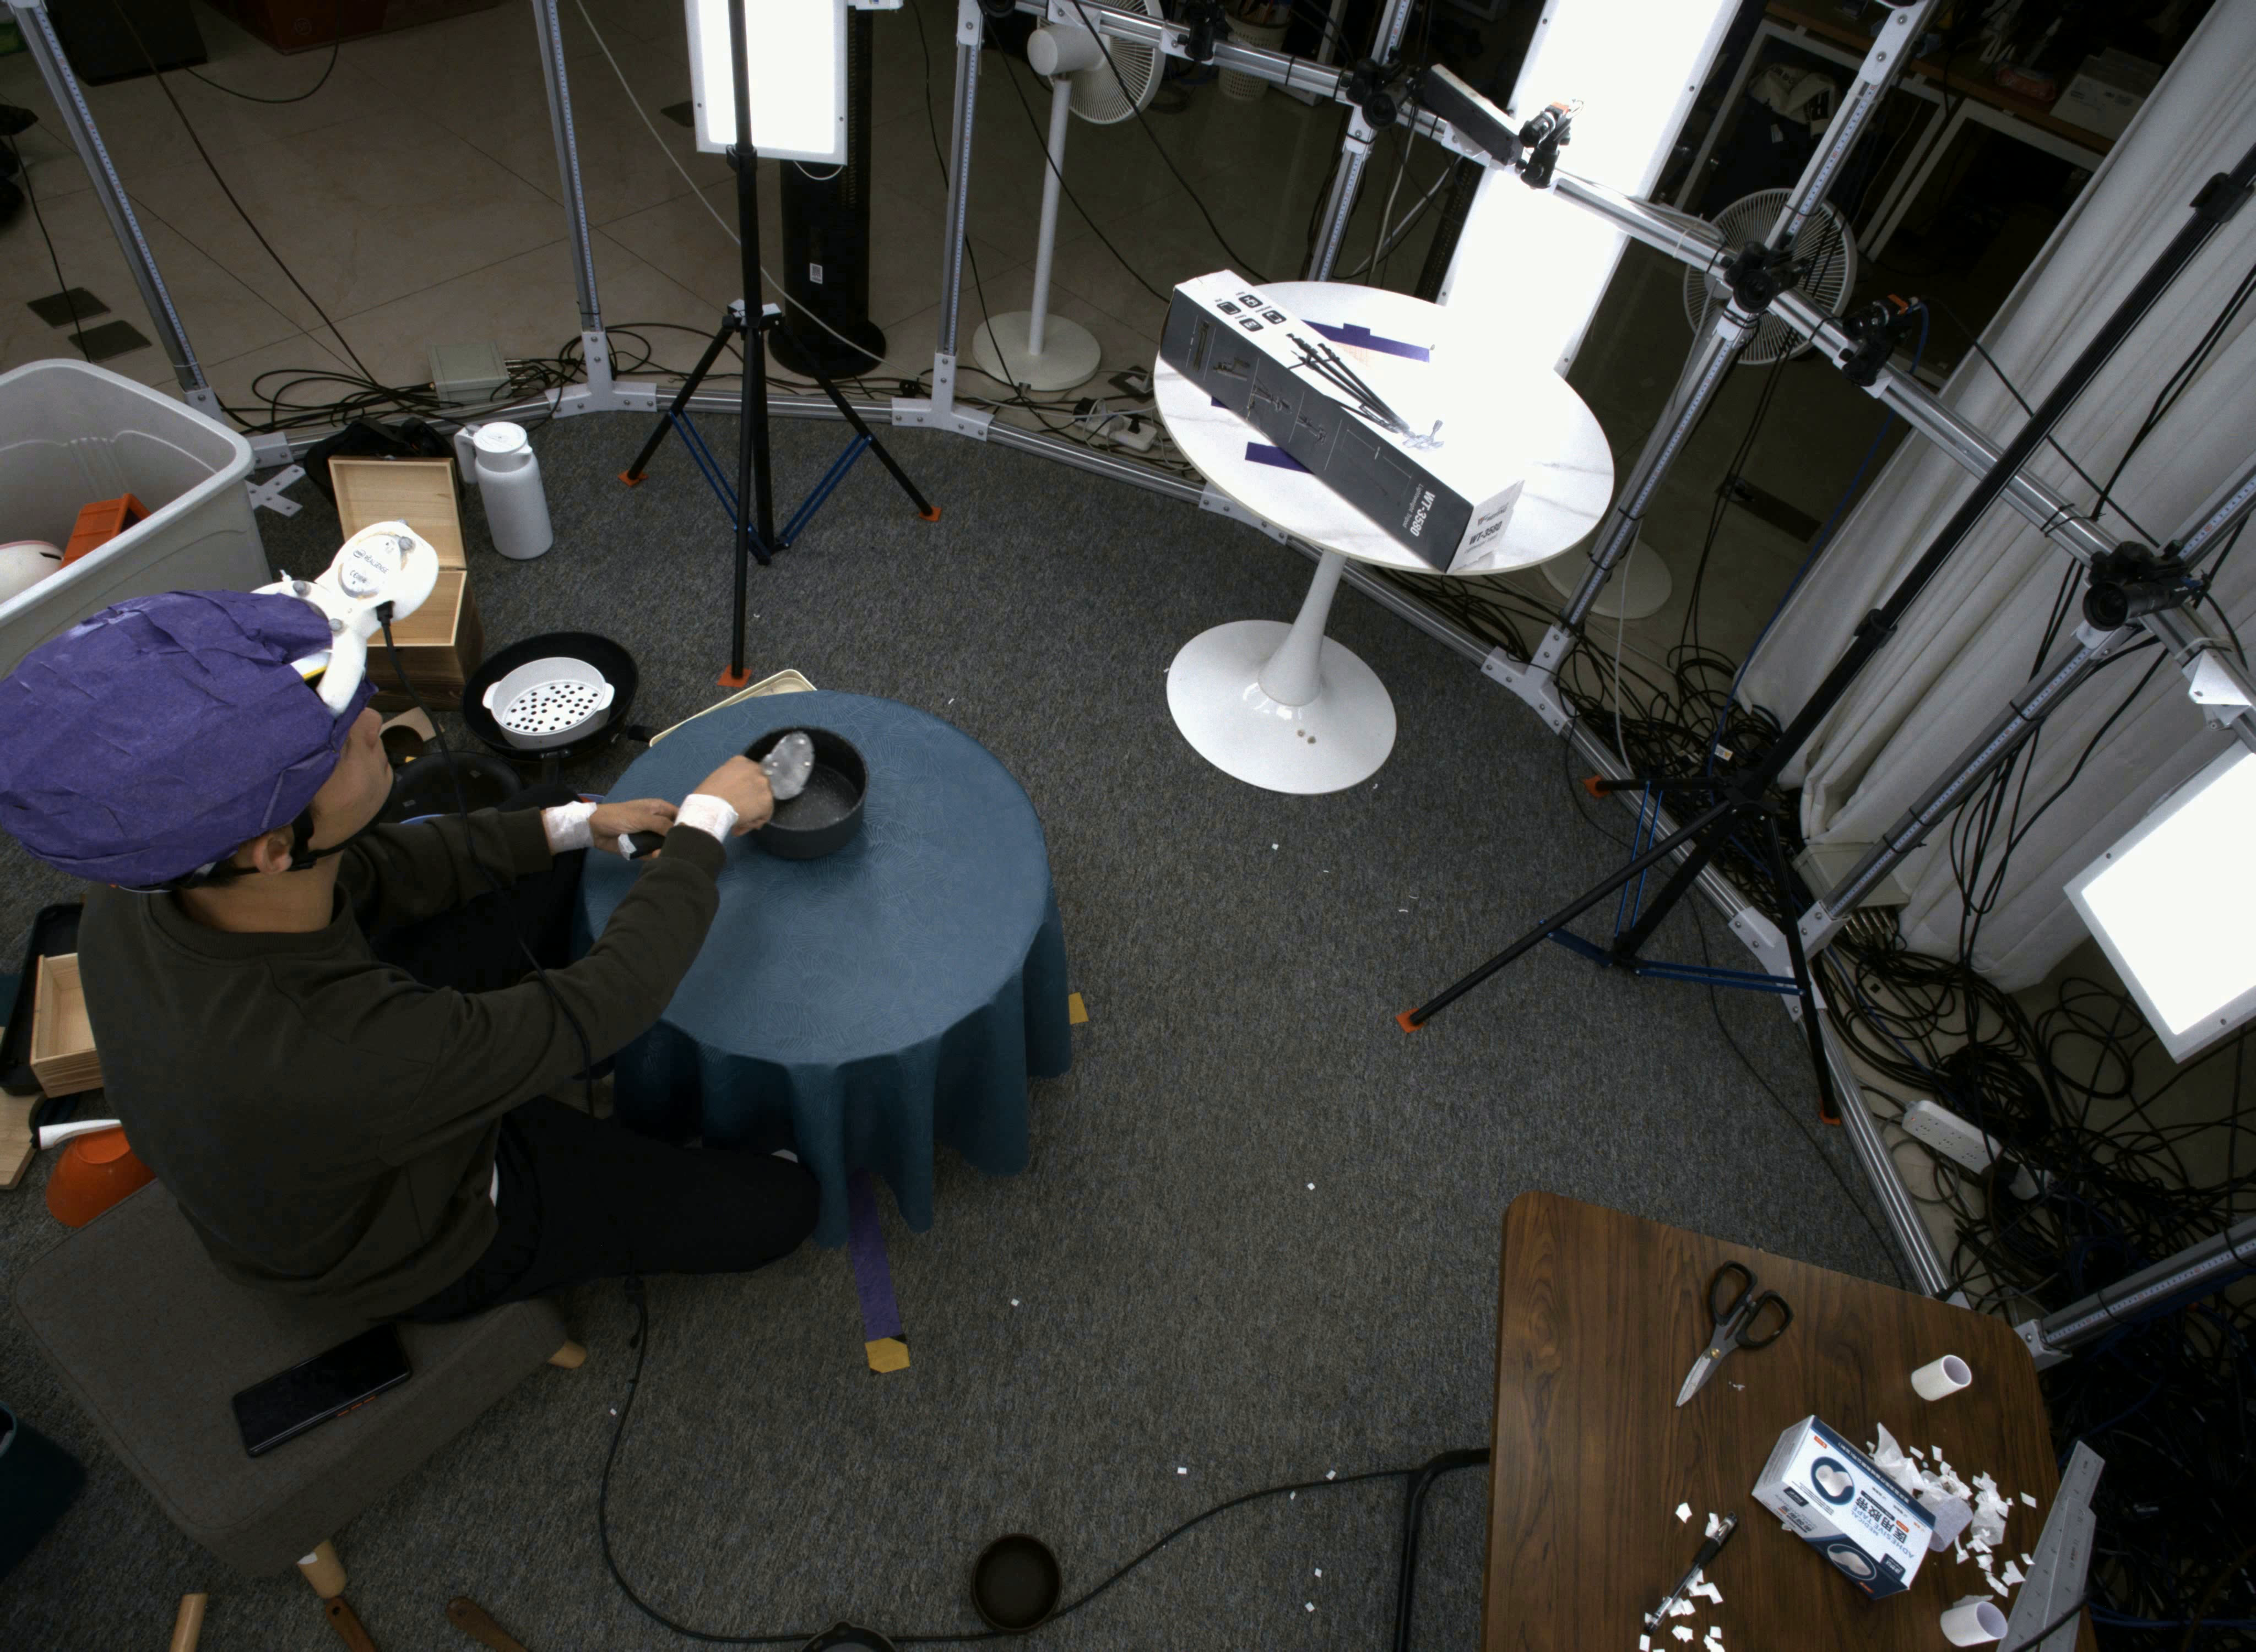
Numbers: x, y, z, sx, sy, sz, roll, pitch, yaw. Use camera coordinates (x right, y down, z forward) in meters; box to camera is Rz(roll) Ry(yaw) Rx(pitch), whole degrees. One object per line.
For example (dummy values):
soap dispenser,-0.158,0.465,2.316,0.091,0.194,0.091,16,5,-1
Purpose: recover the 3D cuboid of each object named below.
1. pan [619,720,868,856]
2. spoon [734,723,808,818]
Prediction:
pan,-0.492,-0.021,1.666,0.330,0.088,0.168,-23,64,-30
spoon,-0.442,-0.060,1.613,0.059,0.103,0.271,-1,17,-8
